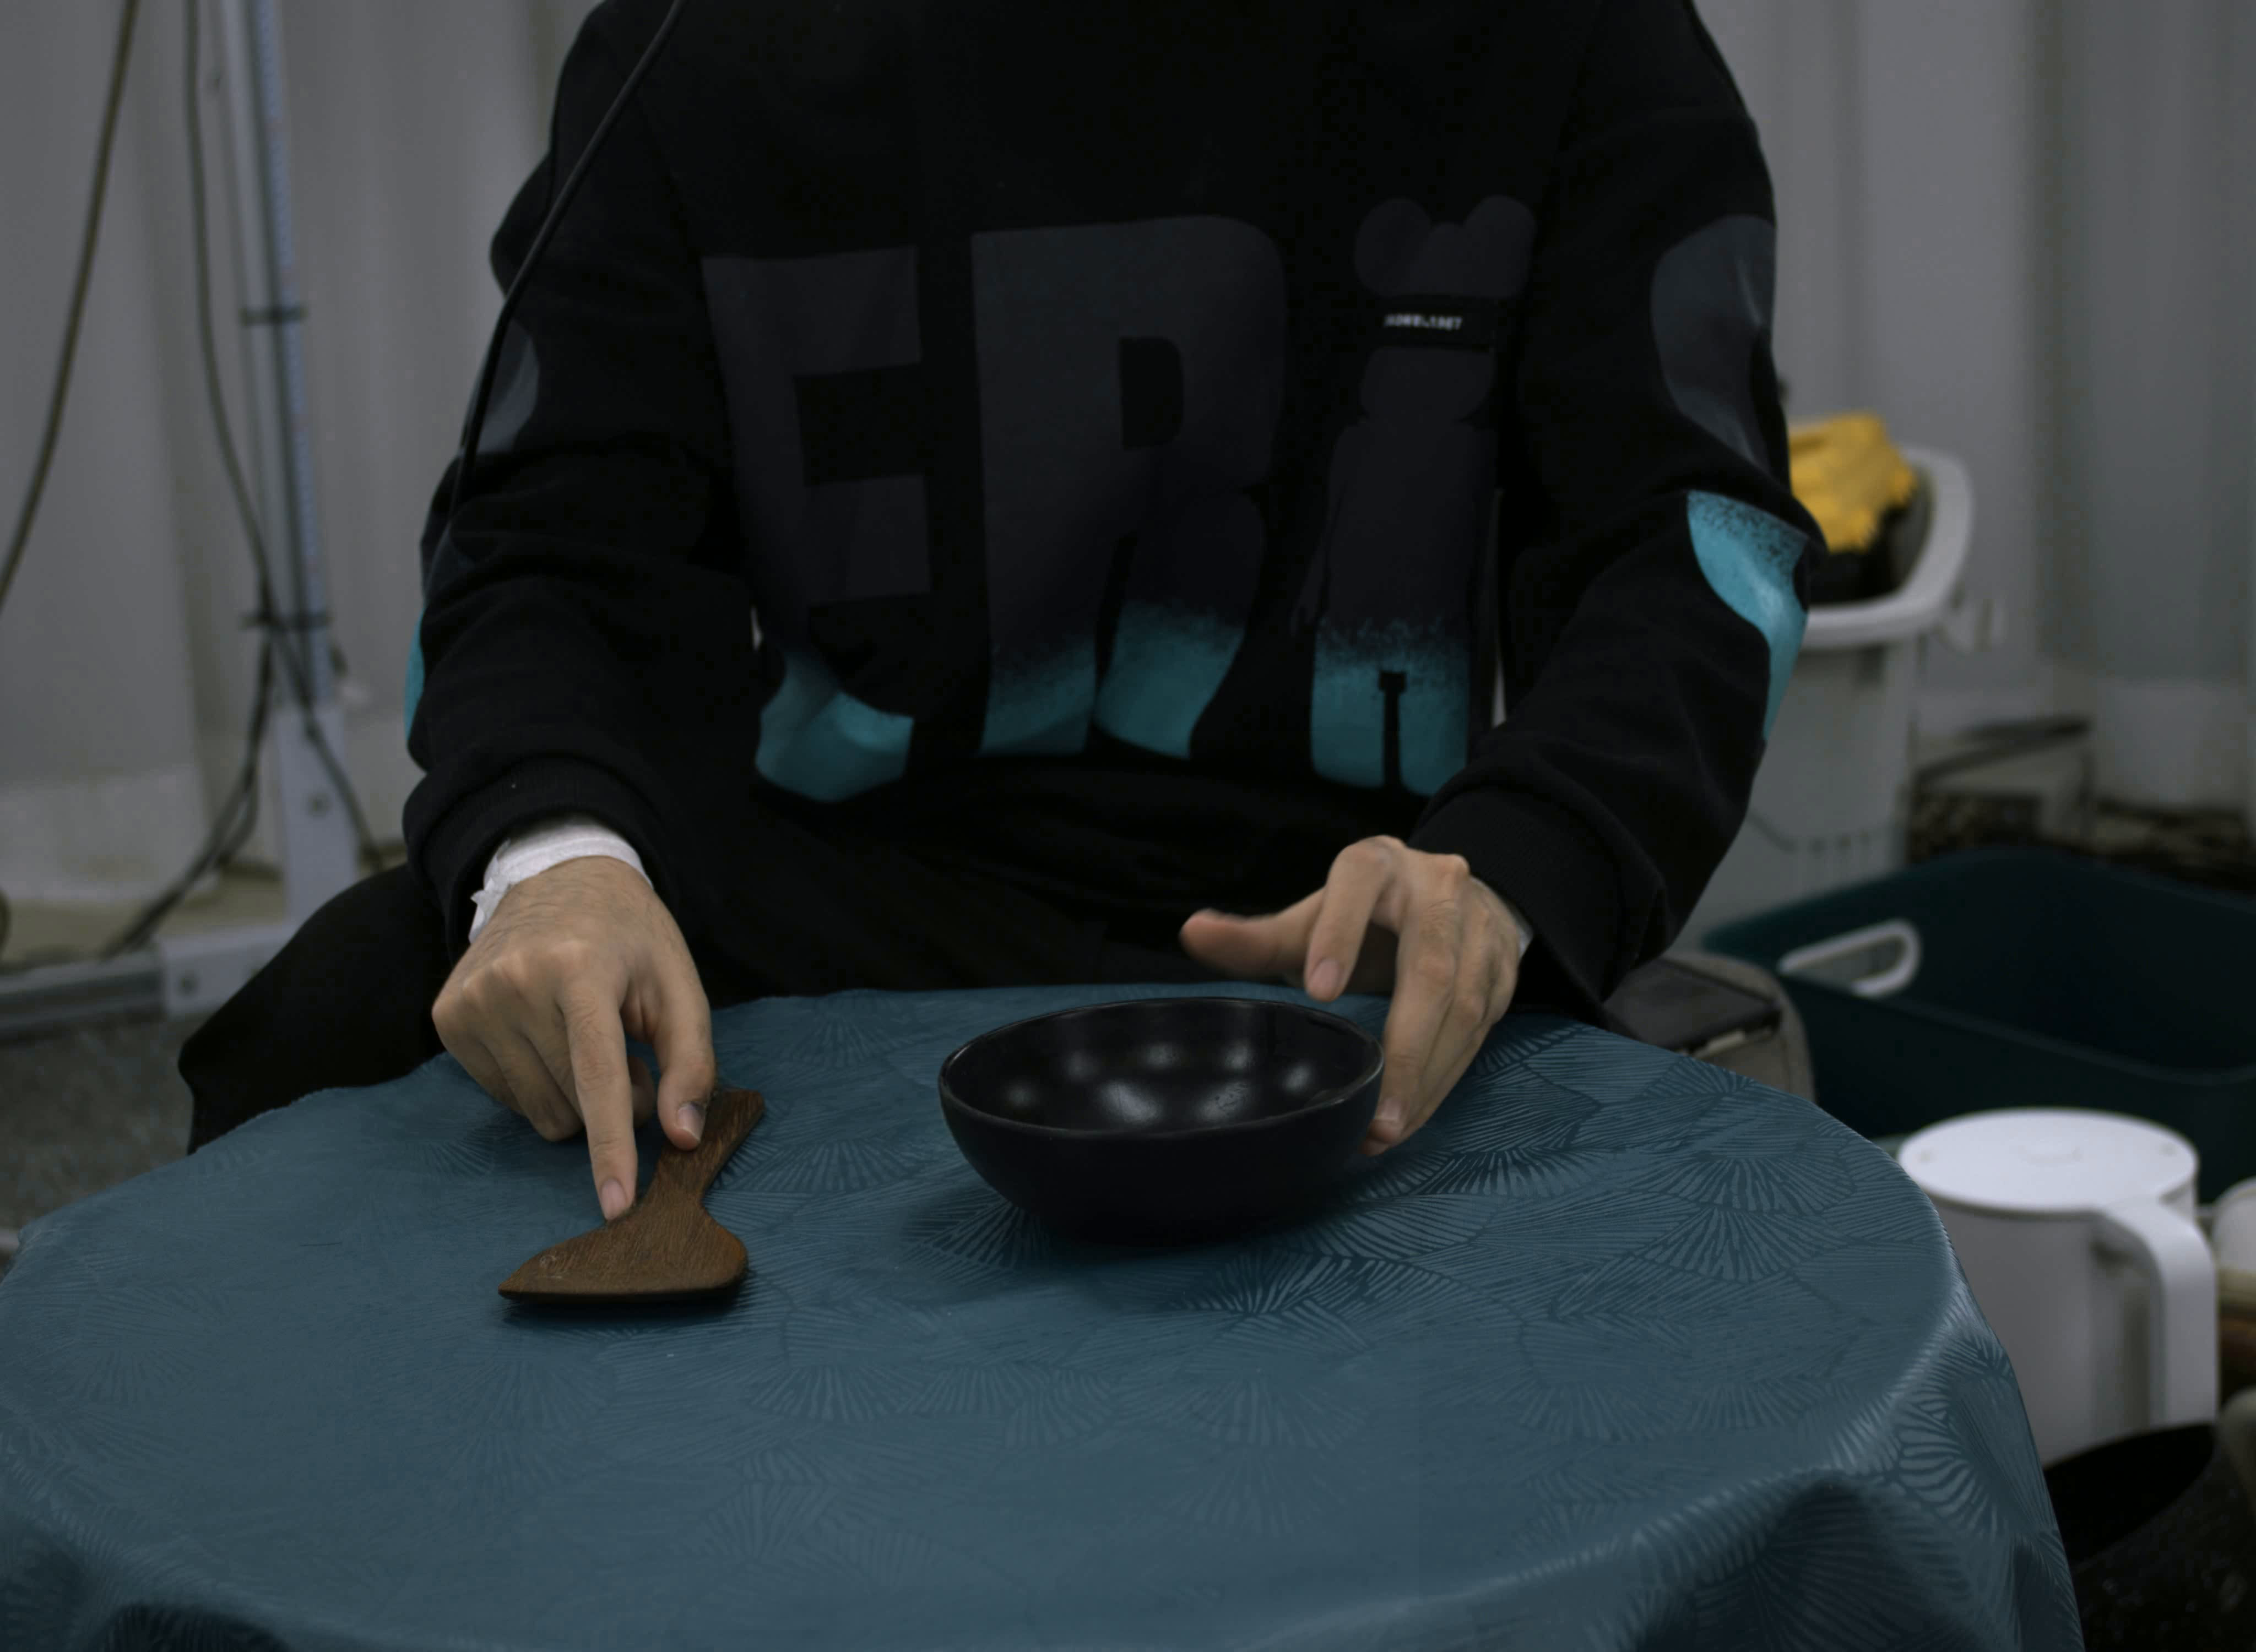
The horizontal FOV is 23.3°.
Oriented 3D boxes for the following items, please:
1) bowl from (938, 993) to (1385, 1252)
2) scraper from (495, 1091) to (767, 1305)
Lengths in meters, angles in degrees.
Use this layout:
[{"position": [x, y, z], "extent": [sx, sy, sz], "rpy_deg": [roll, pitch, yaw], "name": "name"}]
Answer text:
[{"position": [0.012, 0.096, 1.687], "extent": [0.139, 0.049, 0.141], "rpy_deg": [-5, 15, 1], "name": "bowl"}, {"position": [-0.143, 0.117, 1.719], "extent": [0.075, 0.011, 0.212], "rpy_deg": [0, 14, 6], "name": "scraper"}]
